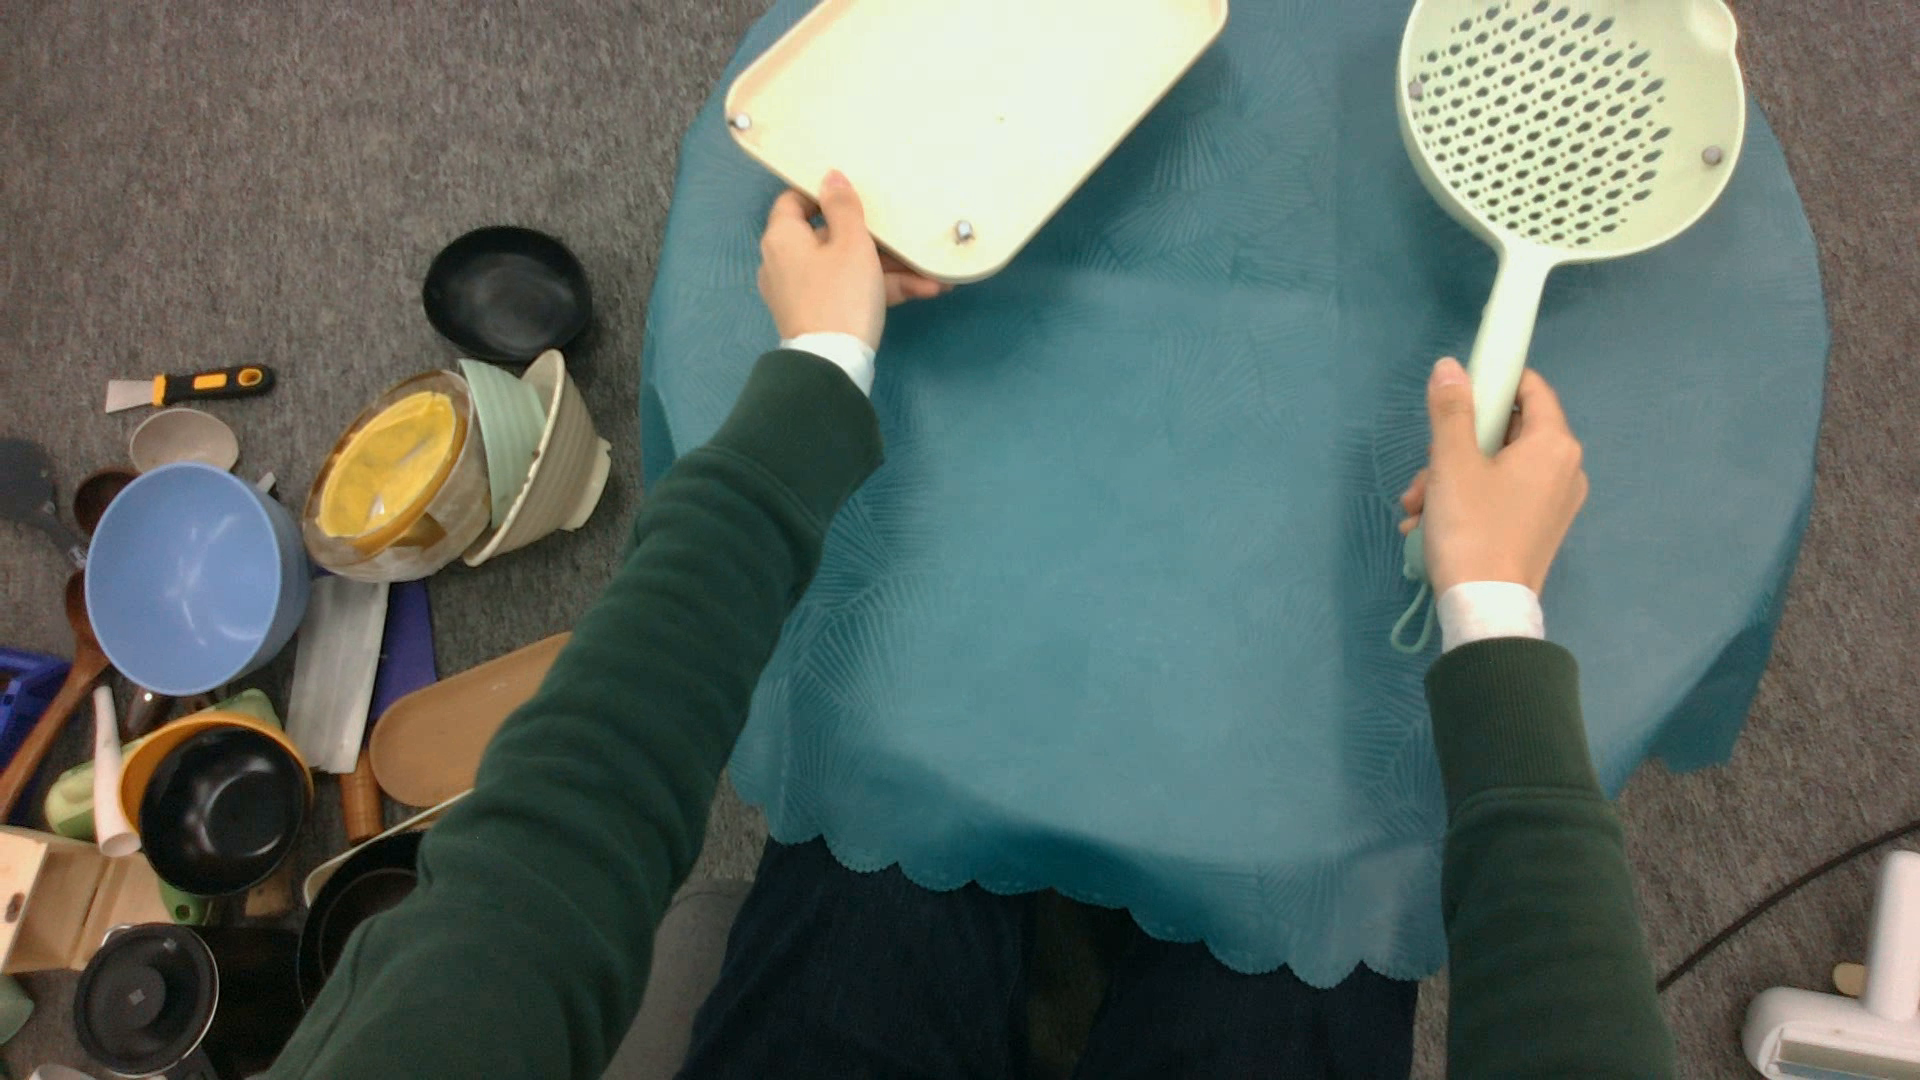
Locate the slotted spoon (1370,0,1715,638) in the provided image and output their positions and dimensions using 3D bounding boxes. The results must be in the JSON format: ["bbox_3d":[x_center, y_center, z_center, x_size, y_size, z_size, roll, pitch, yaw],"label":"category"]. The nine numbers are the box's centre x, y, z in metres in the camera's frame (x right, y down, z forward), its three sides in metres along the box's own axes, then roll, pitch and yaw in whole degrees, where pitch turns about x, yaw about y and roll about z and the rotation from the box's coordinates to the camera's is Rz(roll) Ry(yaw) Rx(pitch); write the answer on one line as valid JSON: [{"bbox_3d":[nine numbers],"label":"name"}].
[{"bbox_3d":[0.251,-0.127,0.654,0.169,0.075,0.360,19,70,1],"label":"slotted spoon"}]

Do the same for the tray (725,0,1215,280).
[{"bbox_3d":[0.008,-0.245,0.716,0.171,0.017,0.240,35,70,15],"label":"tray"}]
